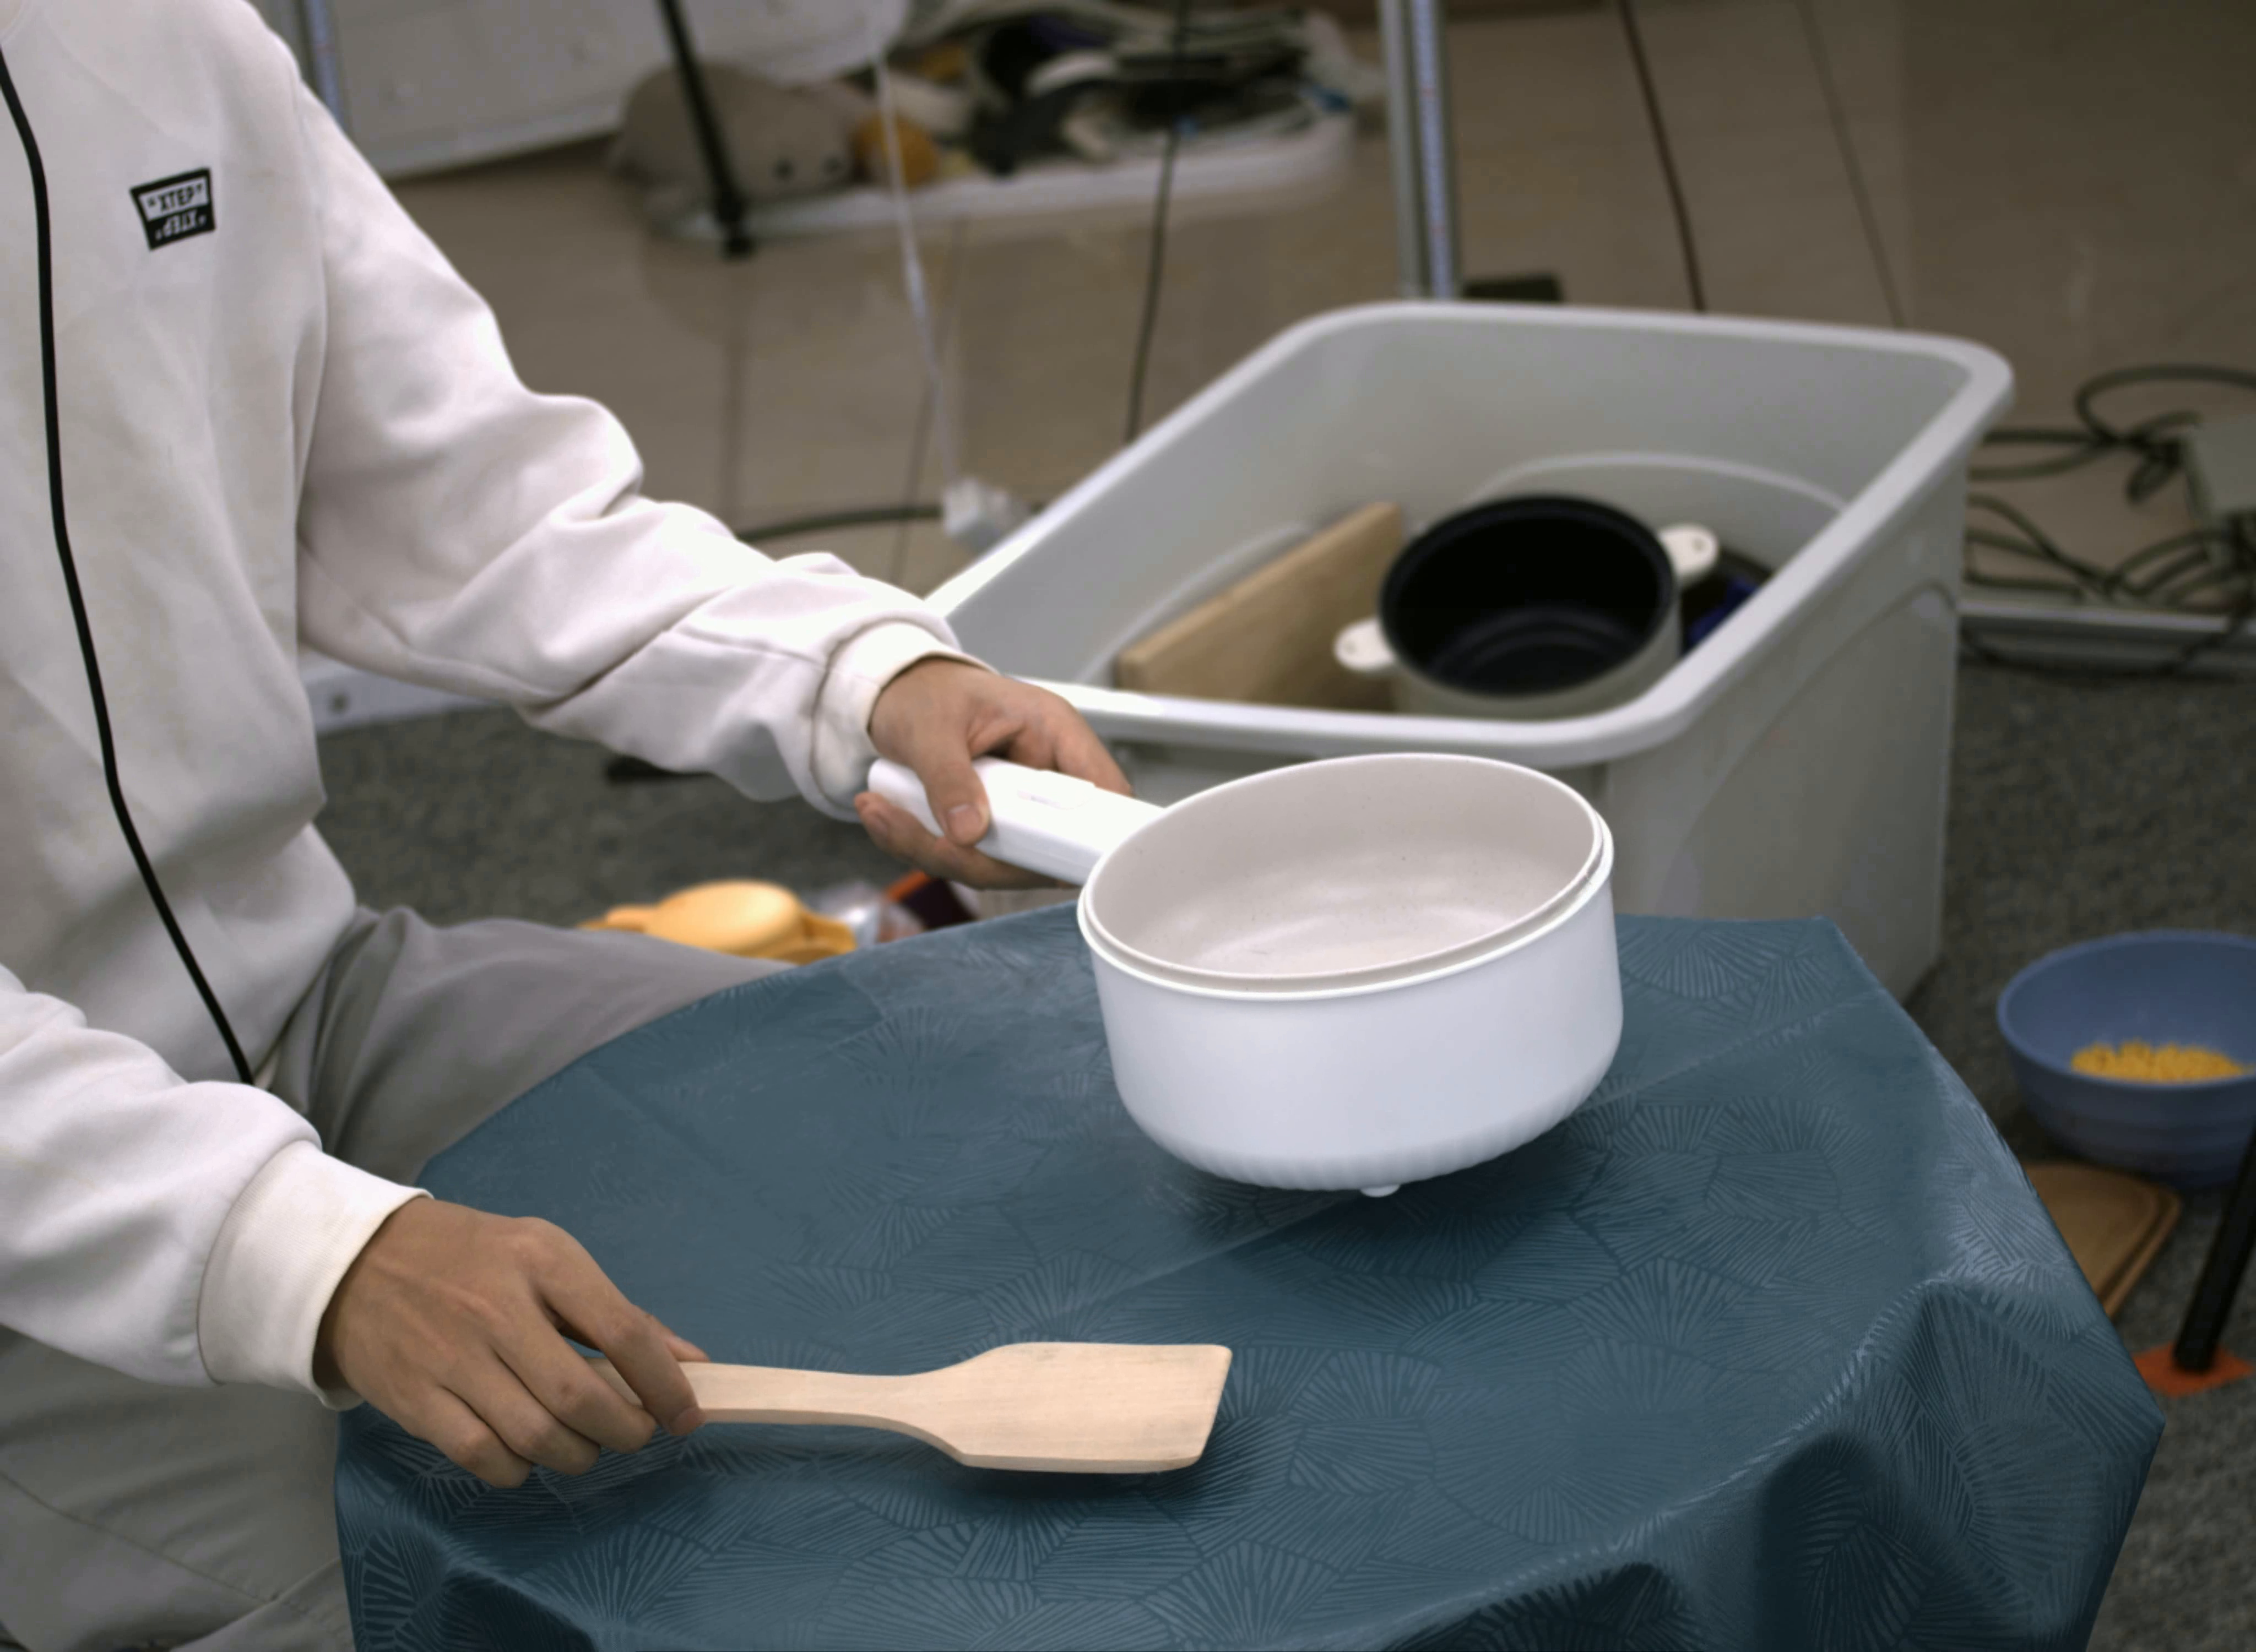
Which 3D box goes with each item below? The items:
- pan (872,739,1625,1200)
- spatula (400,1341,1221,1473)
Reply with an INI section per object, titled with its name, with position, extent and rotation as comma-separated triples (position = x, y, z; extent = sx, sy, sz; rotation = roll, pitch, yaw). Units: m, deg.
[pan]
position = 0.035, 0.045, 2.183
extent = 0.199, 0.103, 0.352
rotation = -30, 30, -36
[spatula]
position = -0.115, 0.199, 1.989
extent = 0.292, 0.011, 0.071
rotation = 1, 30, 11
